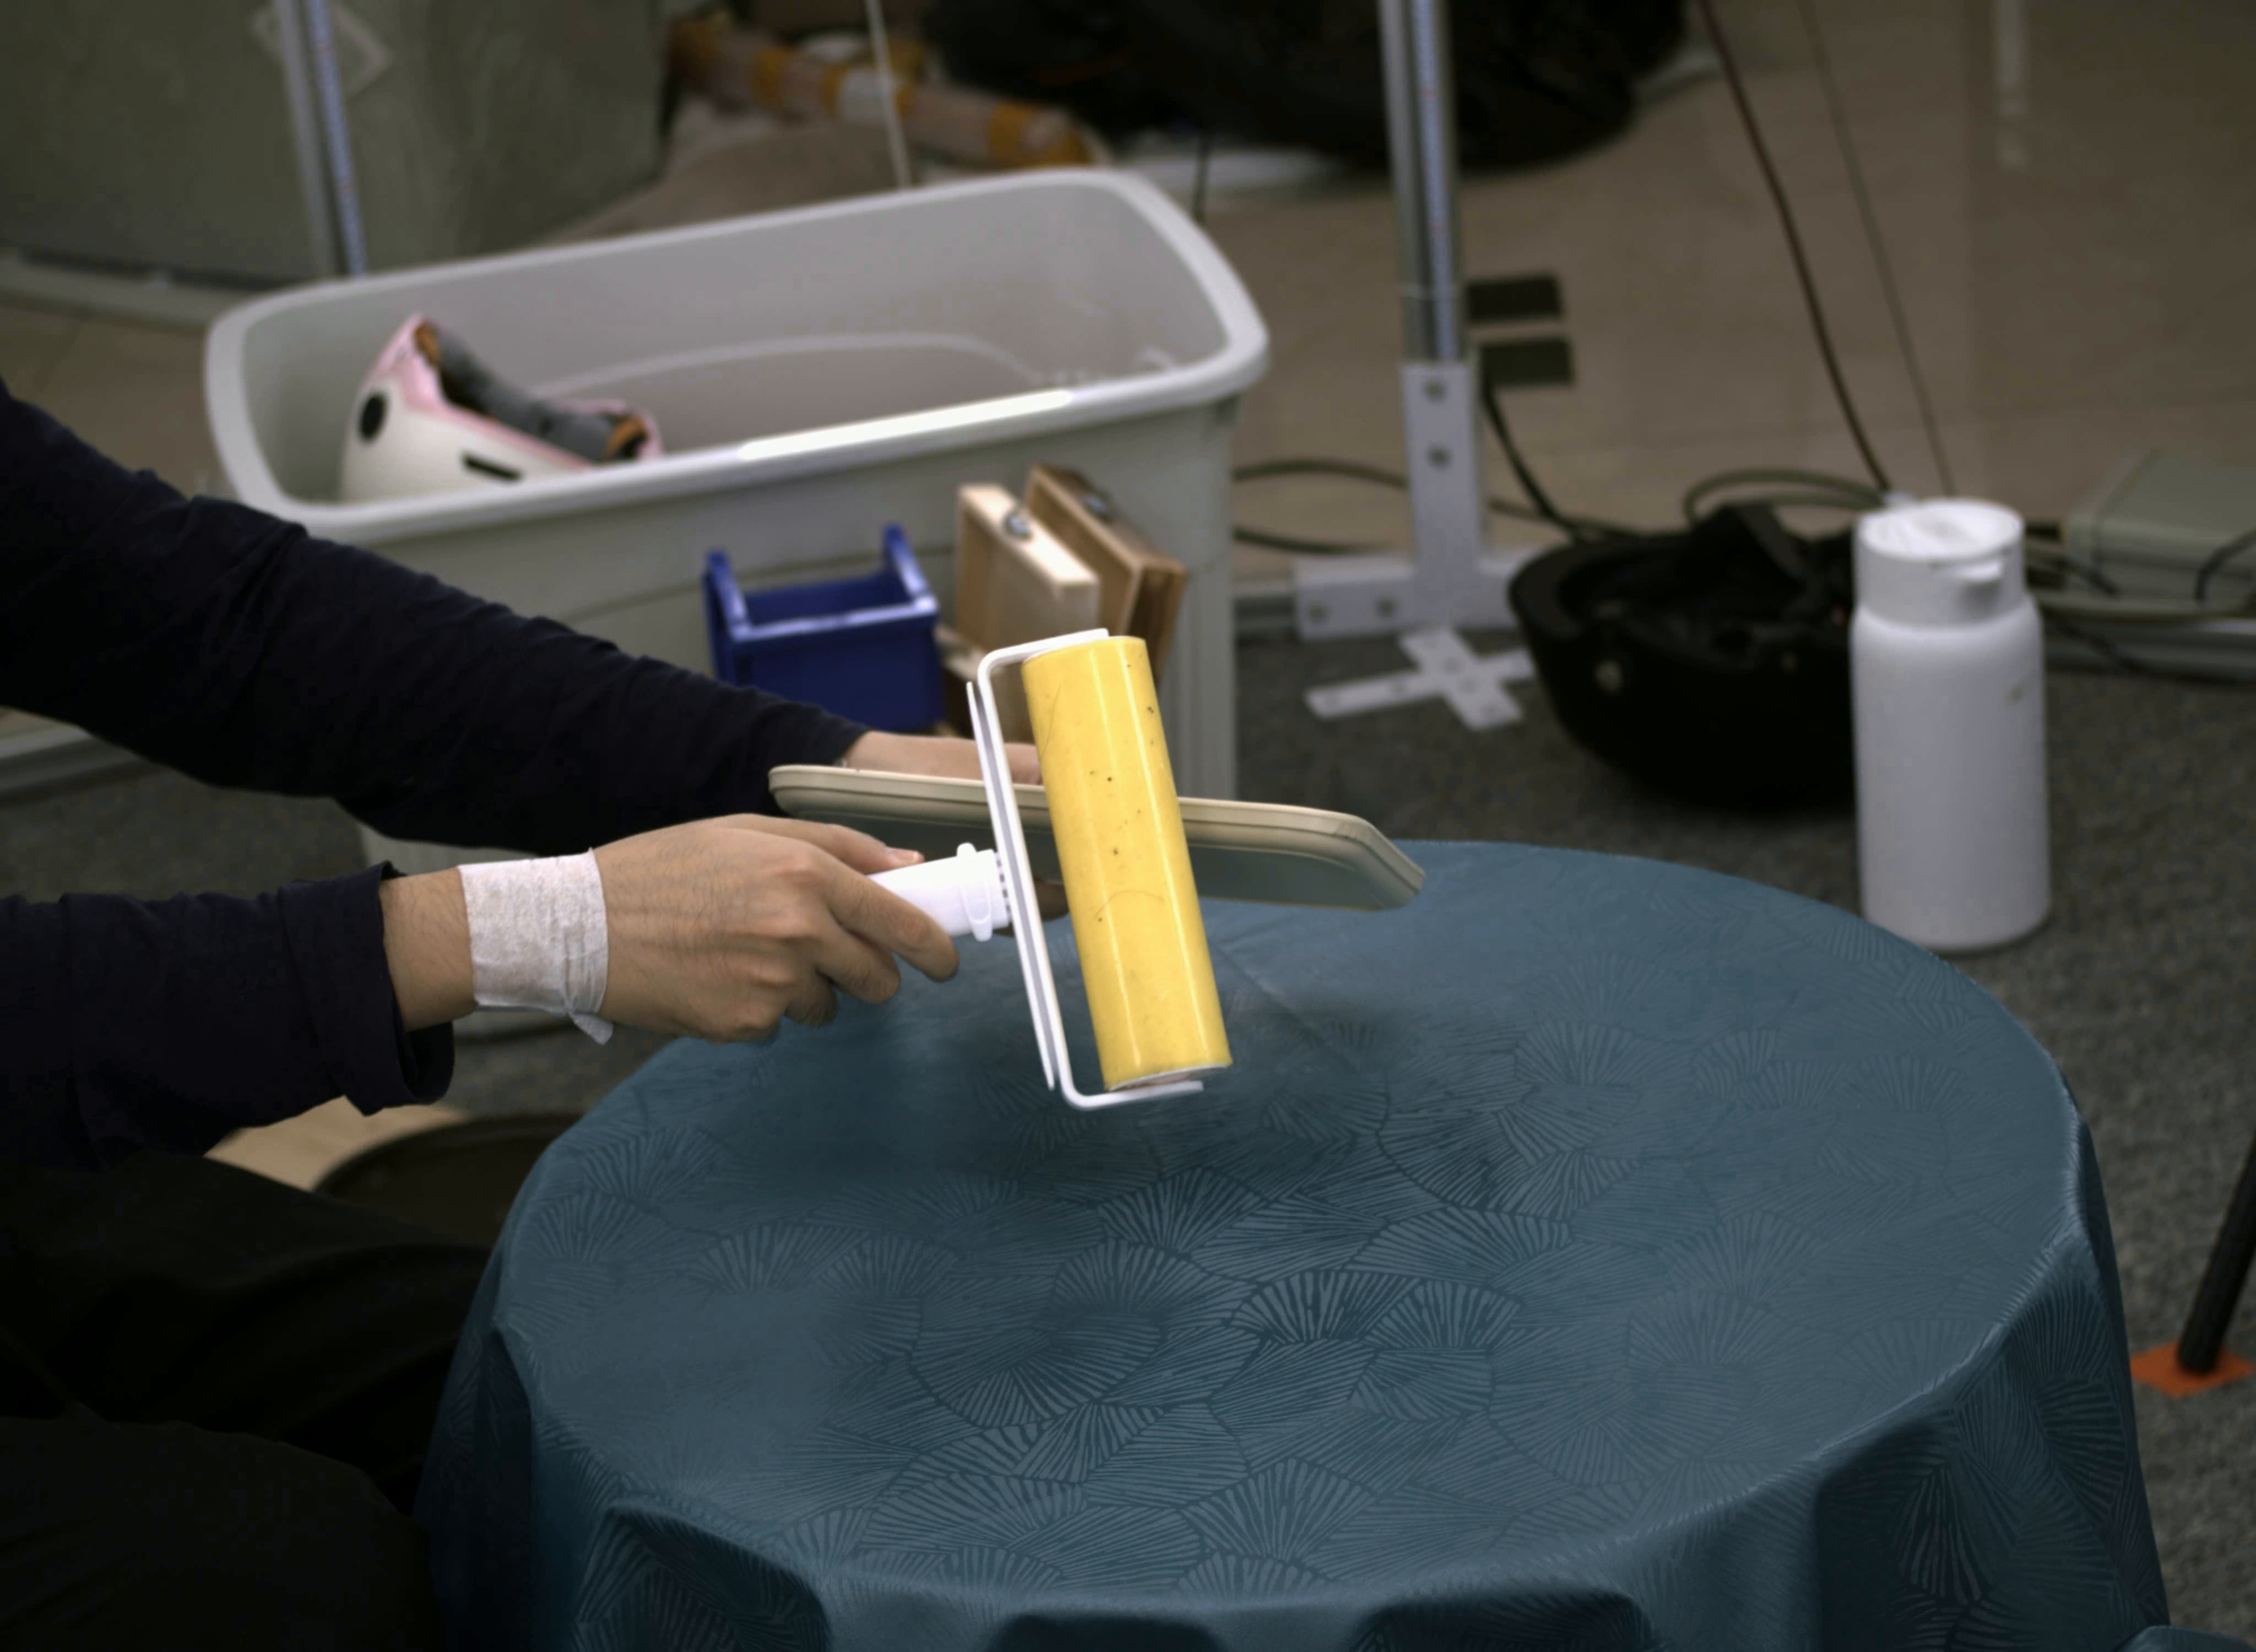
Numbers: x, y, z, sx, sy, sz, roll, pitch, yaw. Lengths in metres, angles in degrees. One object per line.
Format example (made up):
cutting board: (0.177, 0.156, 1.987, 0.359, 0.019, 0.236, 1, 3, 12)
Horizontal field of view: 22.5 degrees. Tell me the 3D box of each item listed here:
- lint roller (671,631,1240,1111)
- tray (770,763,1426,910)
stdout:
lint roller: (-0.070, 0.029, 2.050, 0.191, 0.174, 0.052, -12, -7, -13)
tray: (-0.011, 0.006, 2.205, 0.239, 0.017, 0.172, 5, -9, 14)
